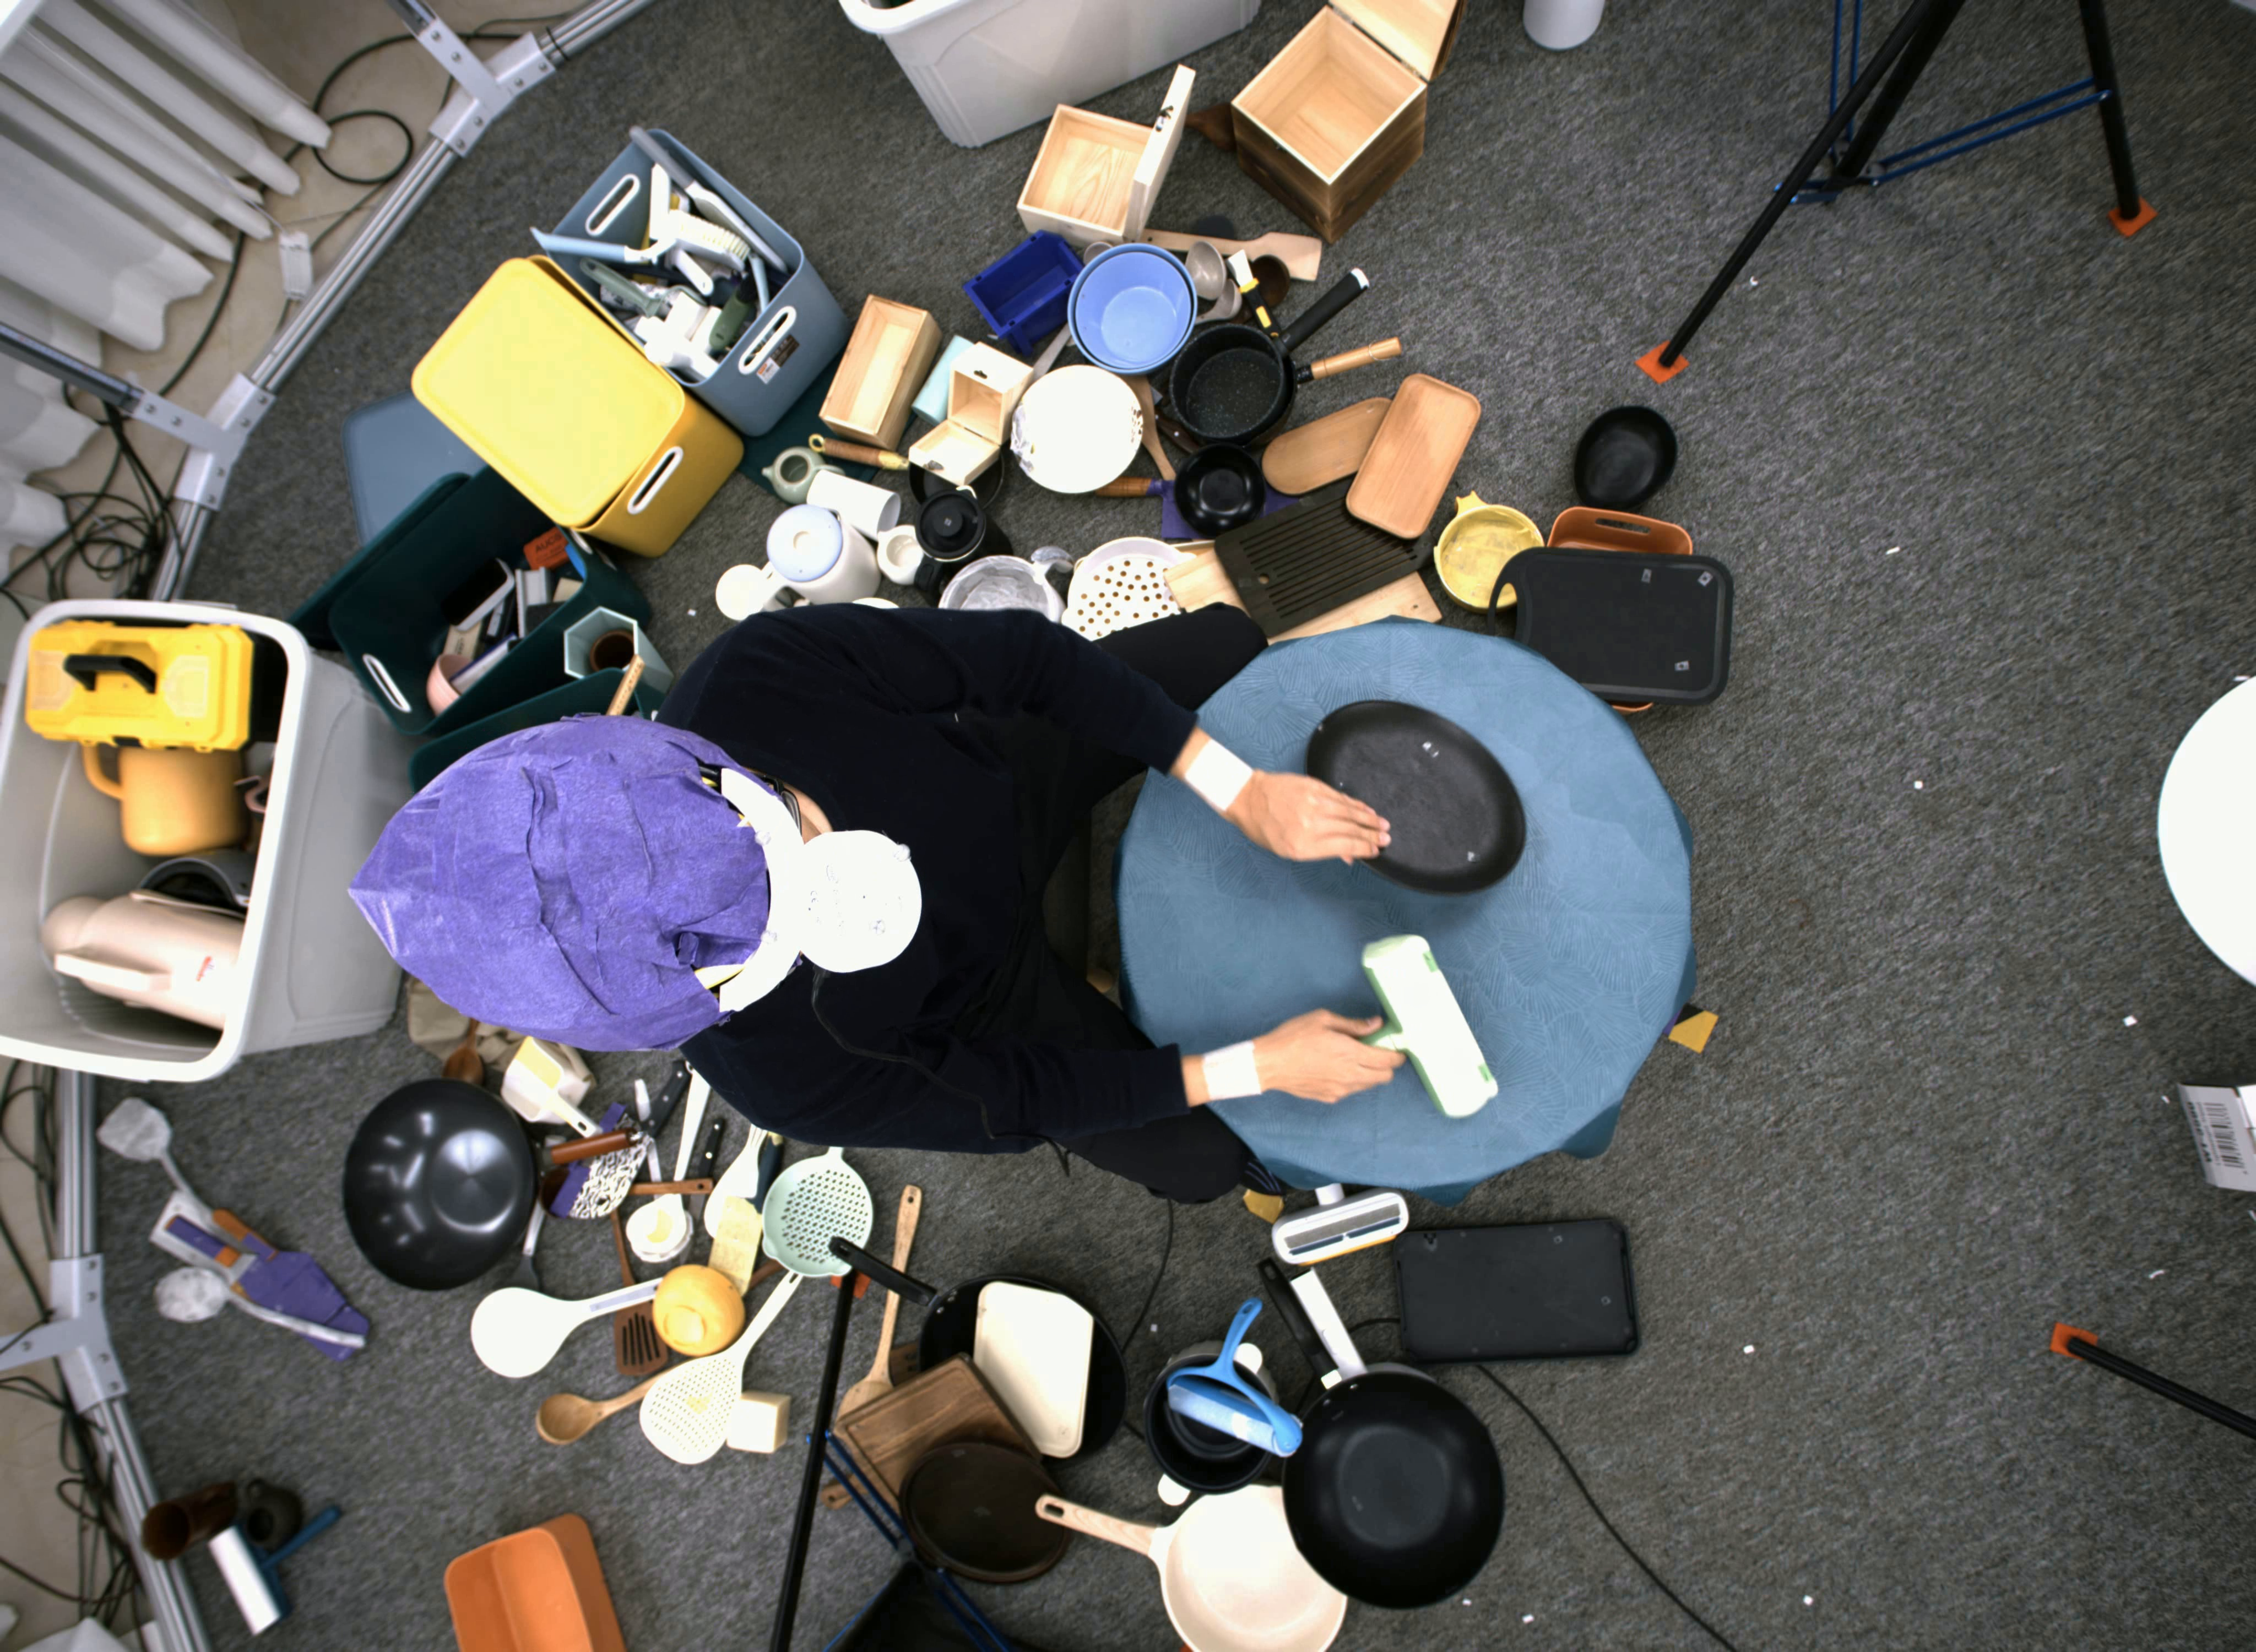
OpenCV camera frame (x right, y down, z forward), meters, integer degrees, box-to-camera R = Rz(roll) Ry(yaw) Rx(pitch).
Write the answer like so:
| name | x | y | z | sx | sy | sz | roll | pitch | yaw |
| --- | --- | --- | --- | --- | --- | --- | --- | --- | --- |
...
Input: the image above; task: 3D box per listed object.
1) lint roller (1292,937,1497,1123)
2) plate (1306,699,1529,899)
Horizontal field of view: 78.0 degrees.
| name | x | y | z | sx | sy | sz | roll | pitch | yaw |
| --- | --- | --- | --- | --- | --- | --- | --- | --- | --- |
| lint roller | 0.251 | 0.230 | 1.381 | 0.184 | 0.081 | 0.200 | -27 | 104 | 5 |
| plate | 0.291 | -0.029 | 1.392 | 0.244 | 0.024 | 0.238 | 8 | 56 | -12 |
